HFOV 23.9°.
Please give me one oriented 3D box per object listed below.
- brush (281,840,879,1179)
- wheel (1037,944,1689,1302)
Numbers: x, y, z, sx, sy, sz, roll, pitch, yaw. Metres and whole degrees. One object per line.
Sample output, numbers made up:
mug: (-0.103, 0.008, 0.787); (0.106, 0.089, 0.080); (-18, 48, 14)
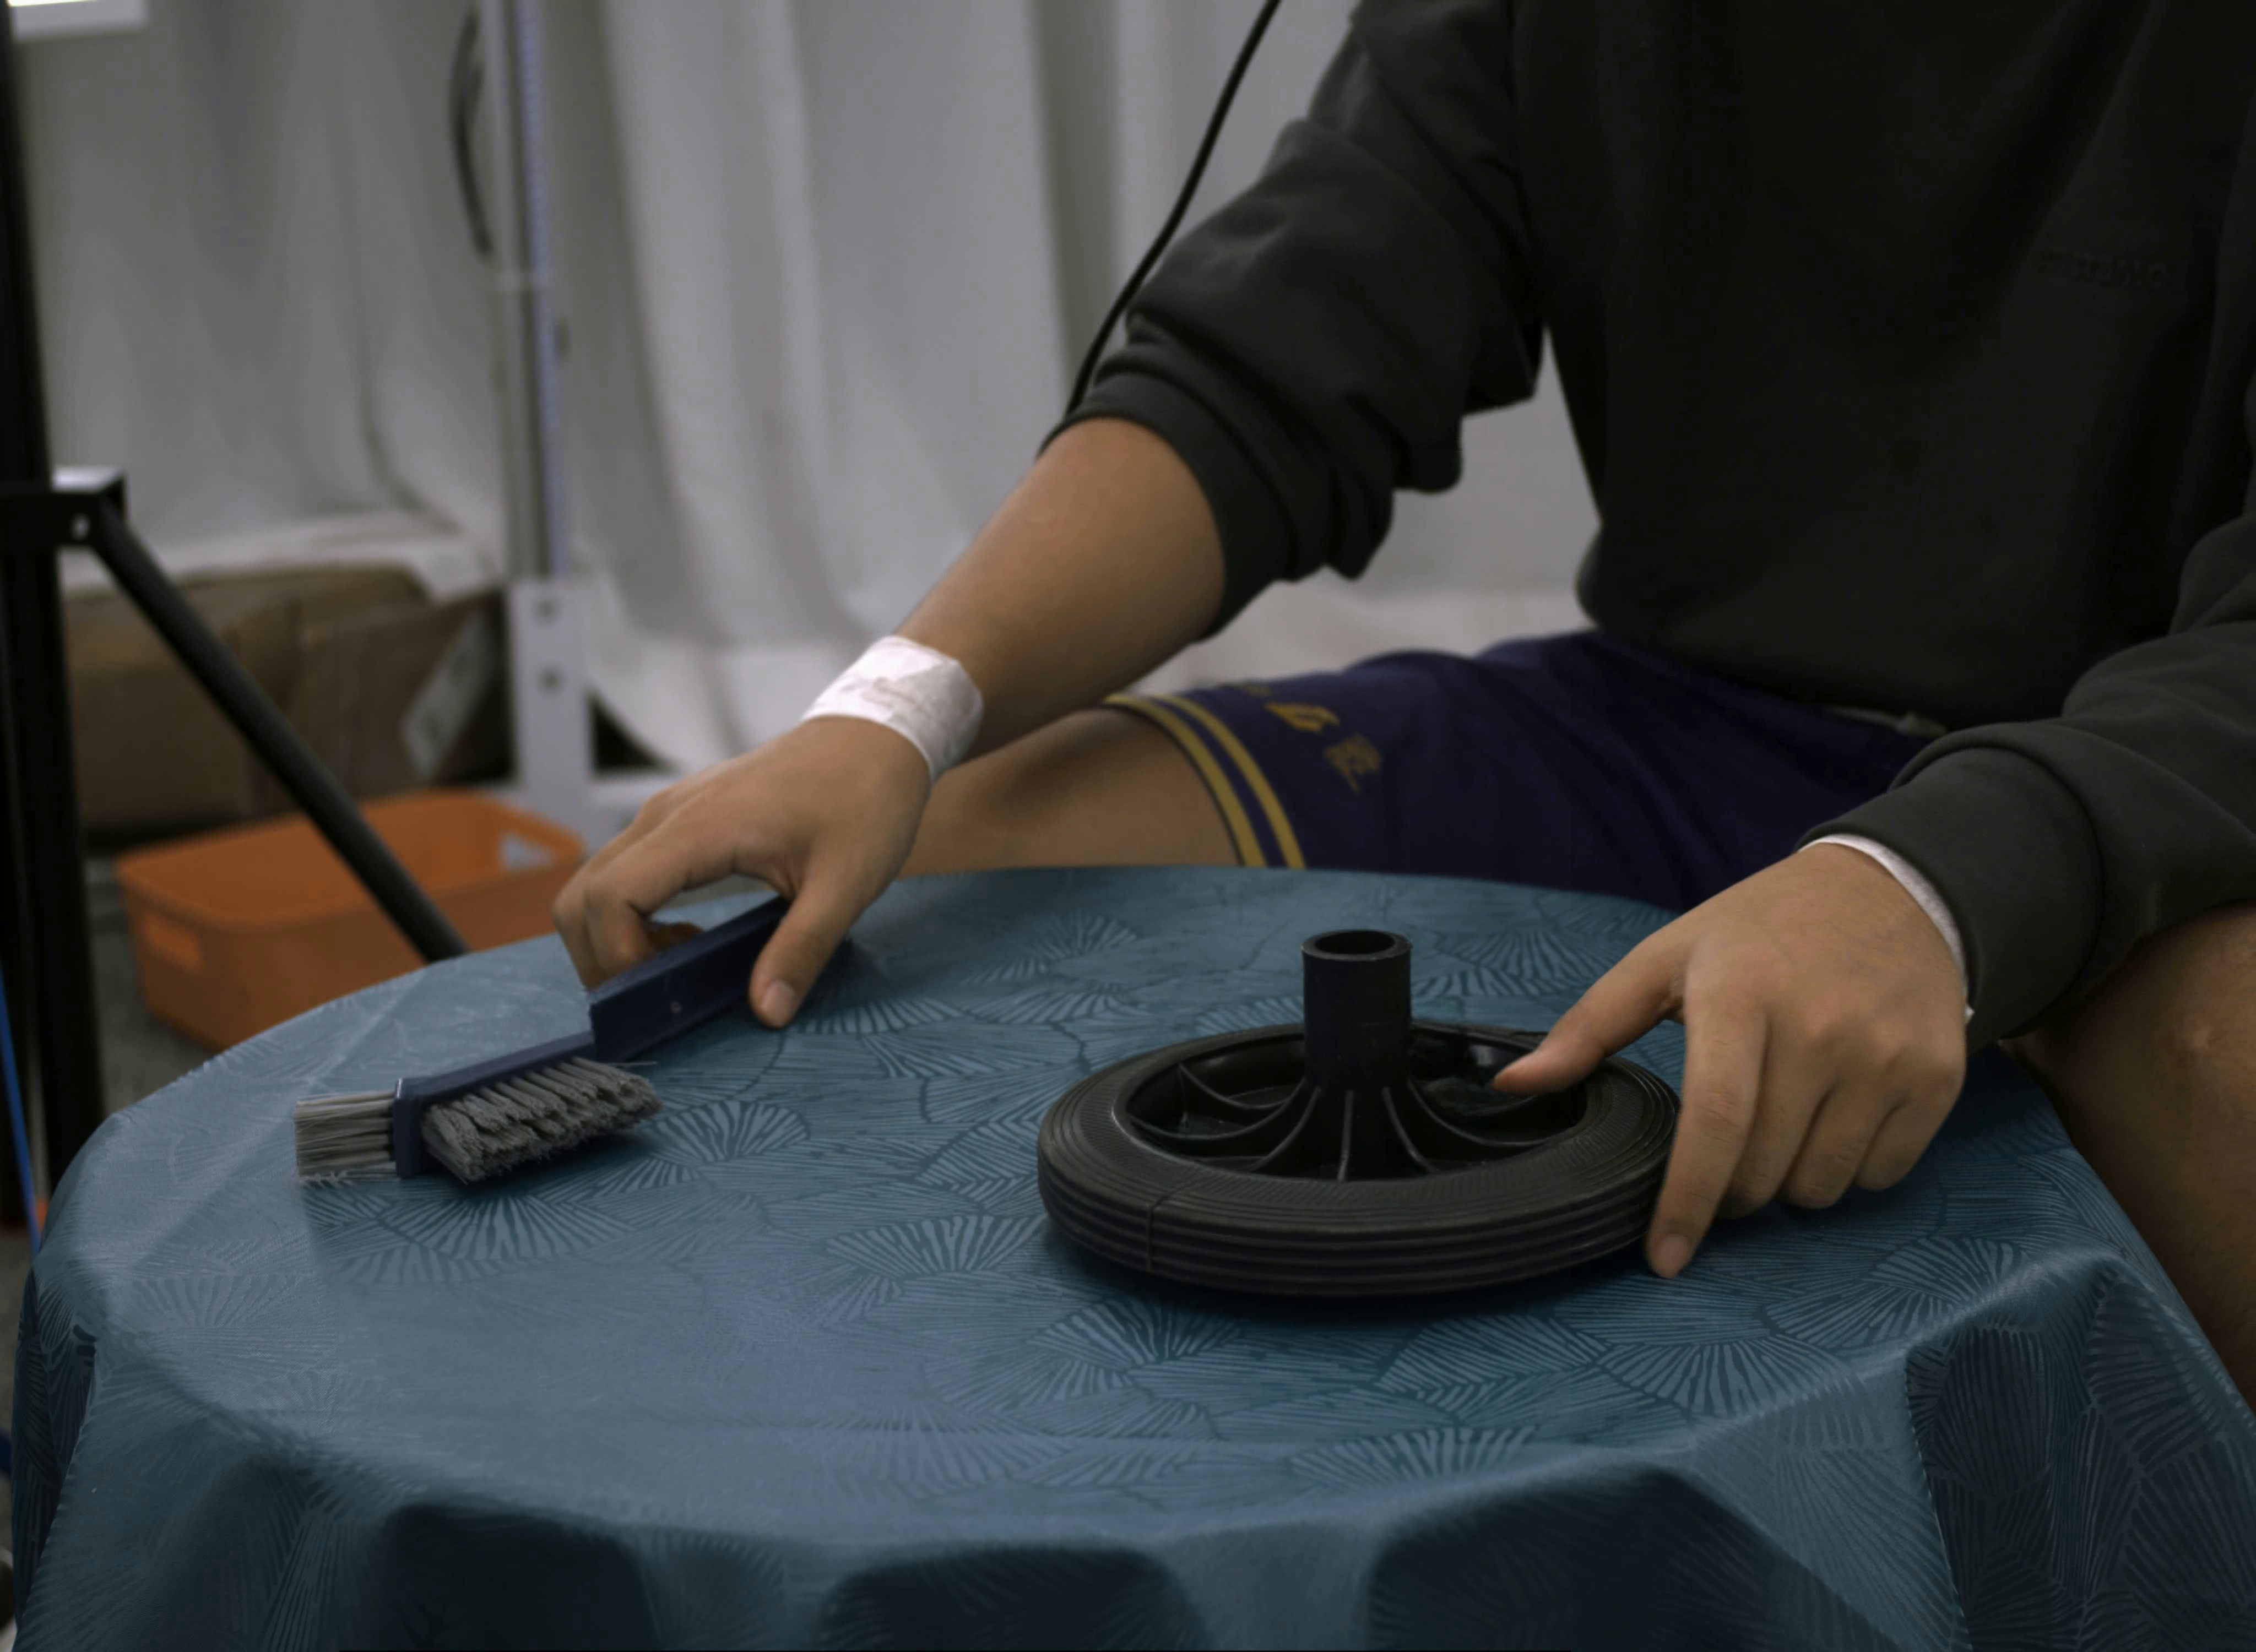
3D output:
brush: (-0.164, 0.058, 1.706); (0.097, 0.033, 0.270); (3, 18, 22)
wheel: (0.067, 0.076, 1.522); (0.185, 0.079, 0.192); (-6, 15, -11)
